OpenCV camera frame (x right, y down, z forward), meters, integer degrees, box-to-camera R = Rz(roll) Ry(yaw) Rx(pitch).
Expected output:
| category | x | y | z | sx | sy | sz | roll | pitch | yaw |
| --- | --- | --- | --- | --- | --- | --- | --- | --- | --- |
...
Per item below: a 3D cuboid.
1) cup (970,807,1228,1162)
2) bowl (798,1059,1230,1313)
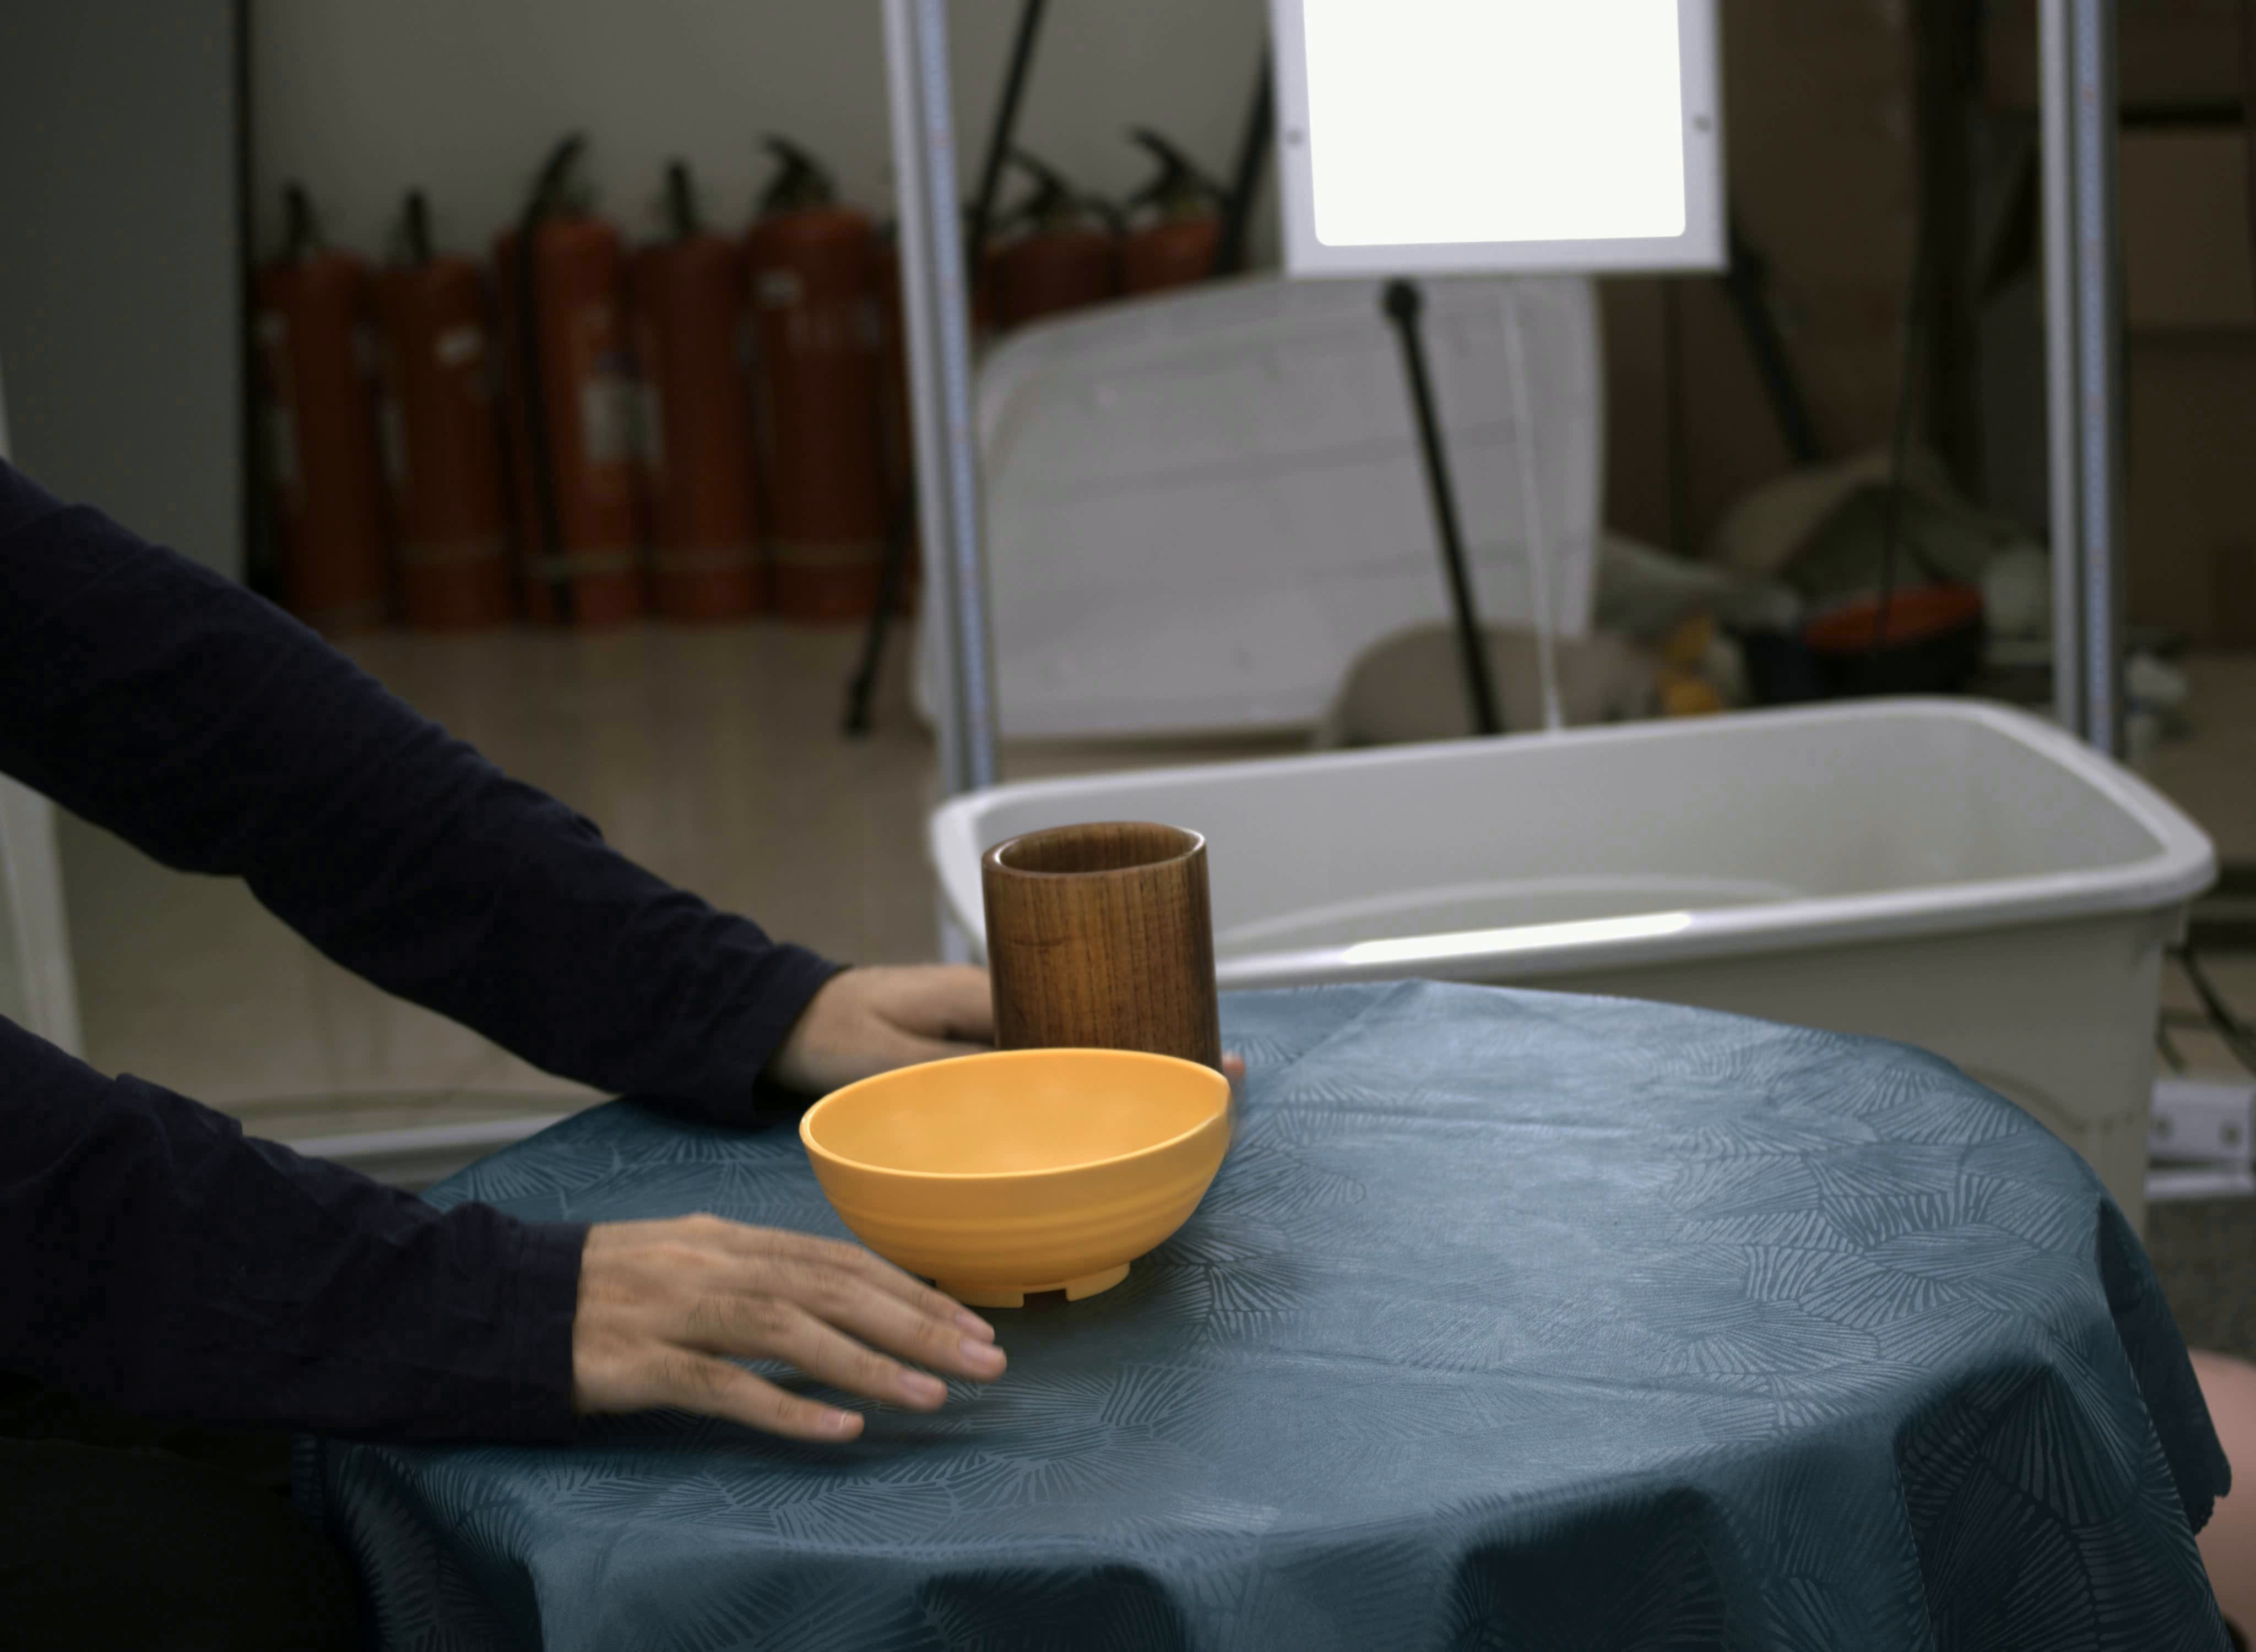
| category | x | y | z | sx | sy | sz | roll | pitch | yaw |
| --- | --- | --- | --- | --- | --- | --- | --- | --- | --- |
| cup | -0.009 | 0.059 | 1.932 | 0.087 | 0.119 | 0.087 | -5 | 12 | 0 |
| bowl | -0.034 | 0.122 | 1.810 | 0.145 | 0.060 | 0.145 | -6 | 12 | 0 |
